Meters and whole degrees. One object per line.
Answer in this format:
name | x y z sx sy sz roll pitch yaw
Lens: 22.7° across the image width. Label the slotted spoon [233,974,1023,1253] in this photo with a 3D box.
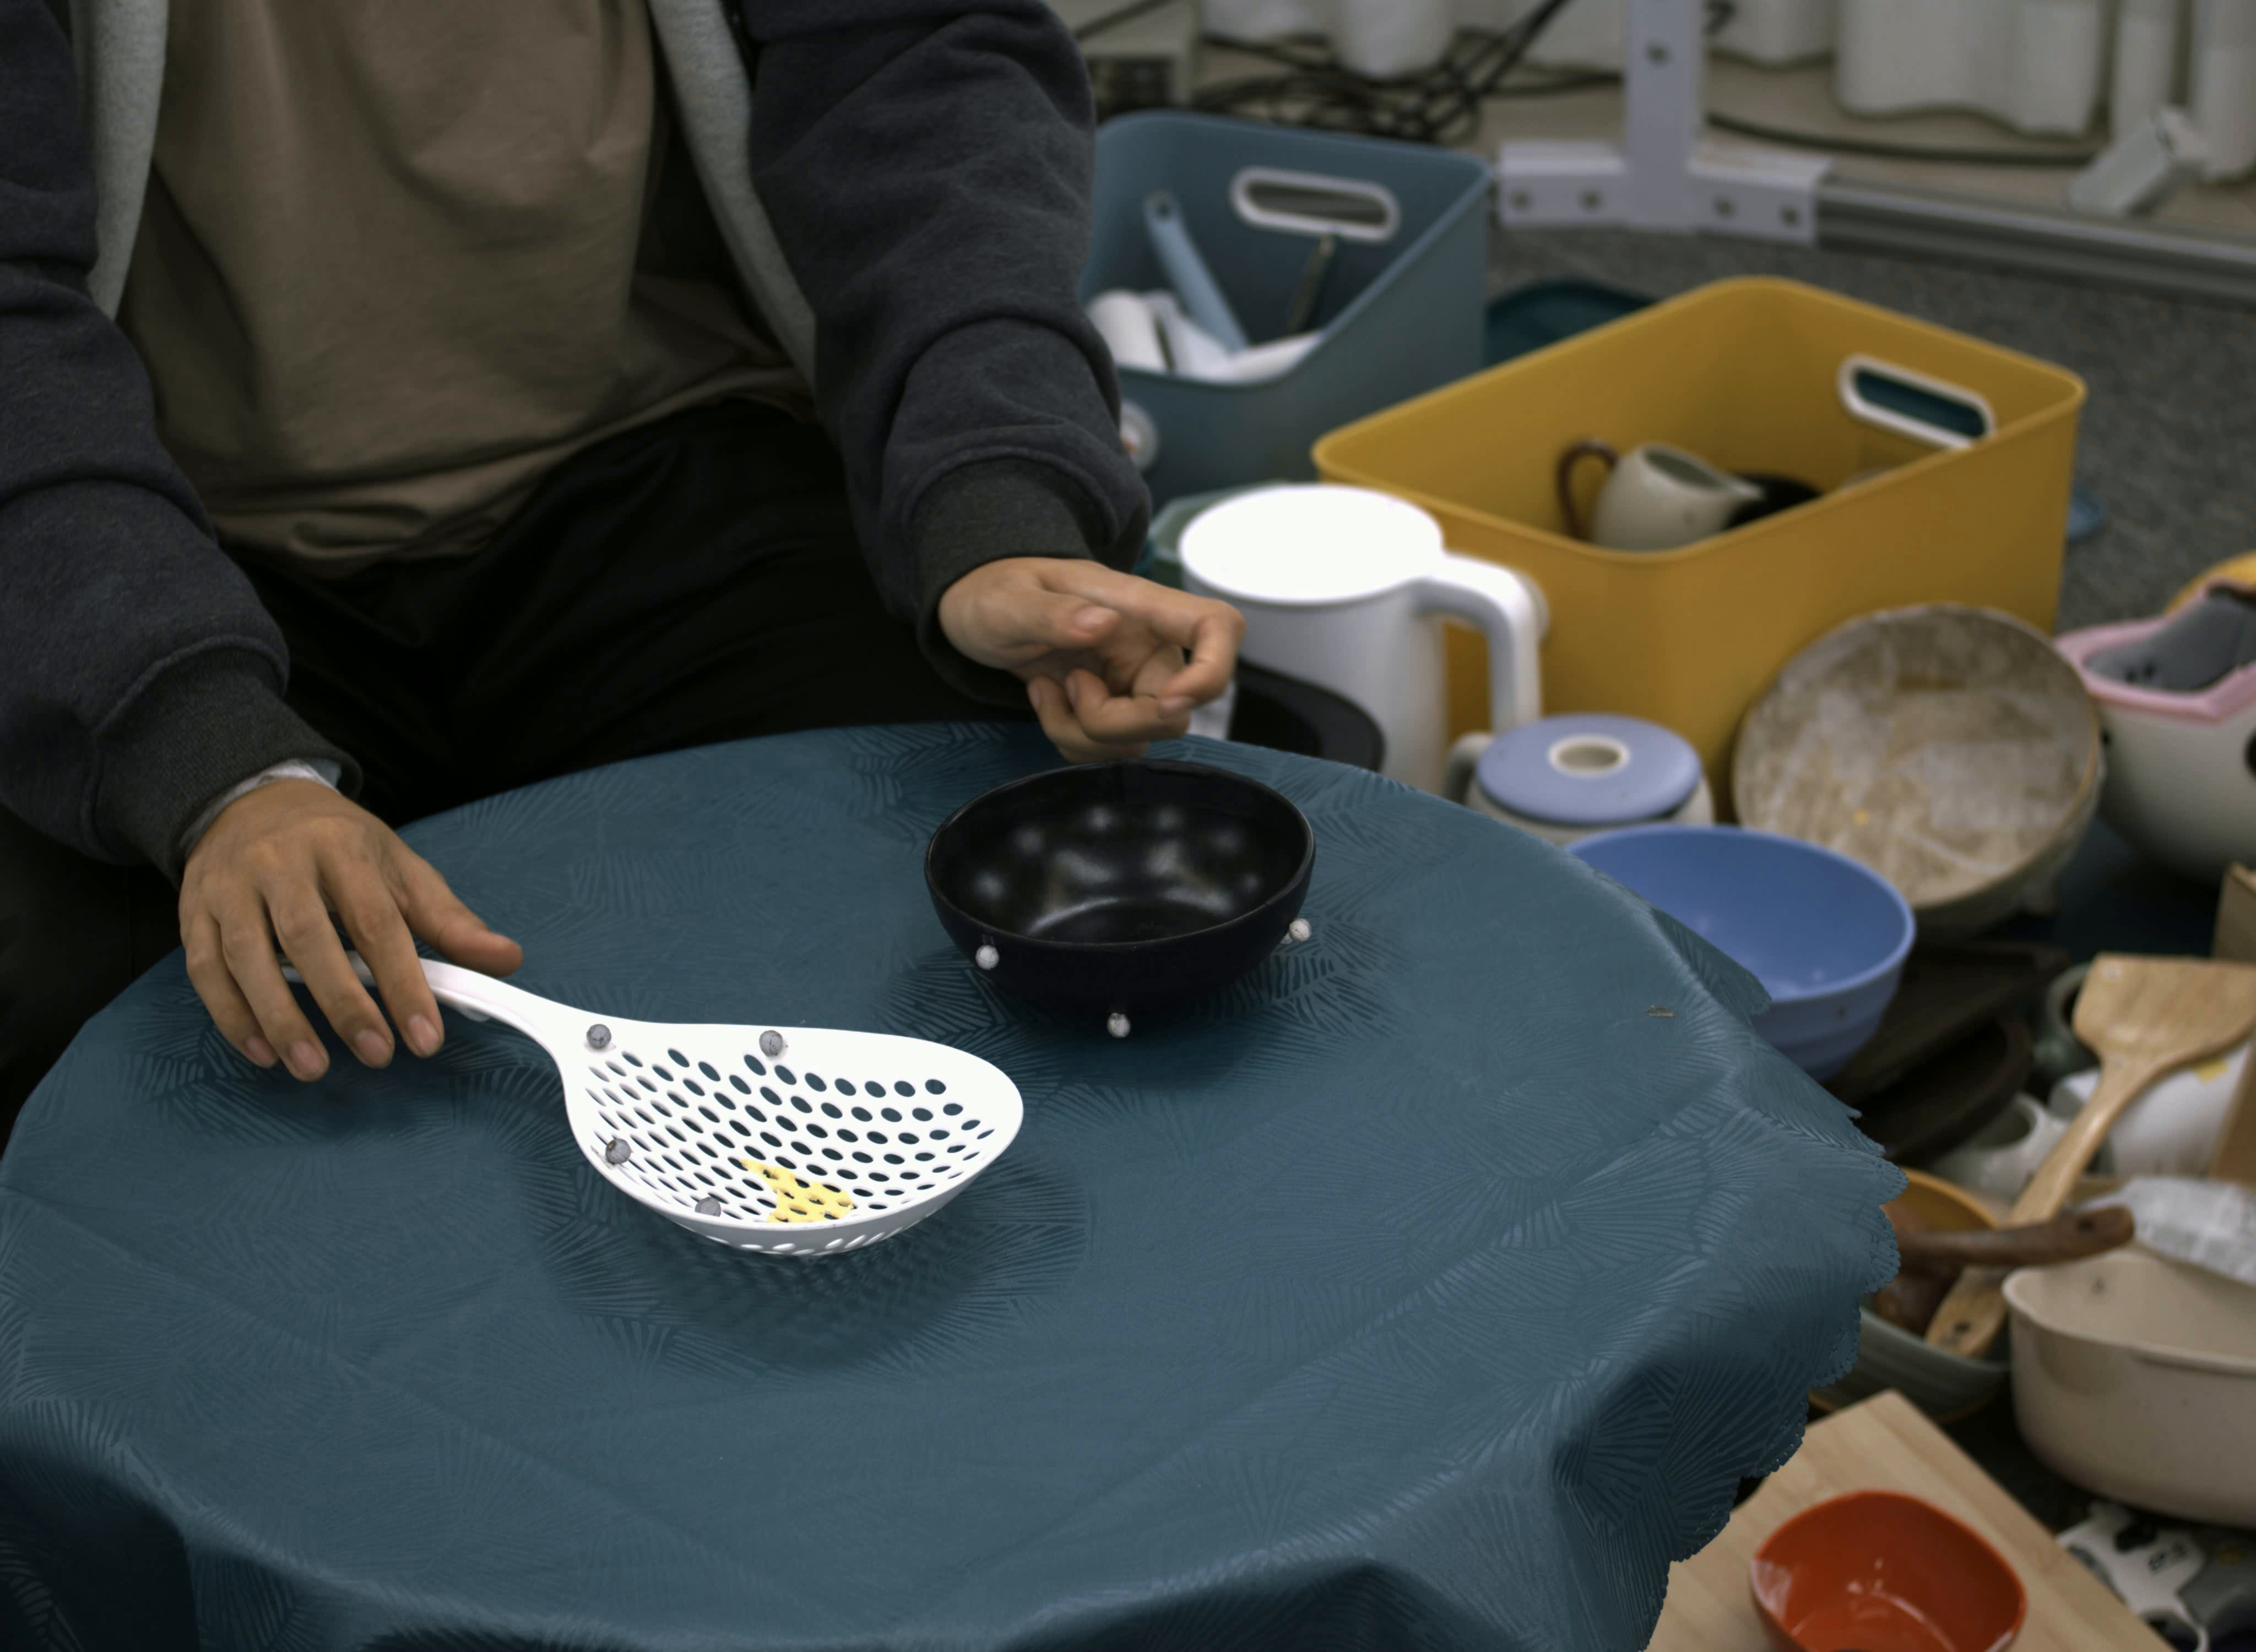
slotted spoon | -0.184 0.083 1.911 0.347 0.050 0.138 19 36 37
